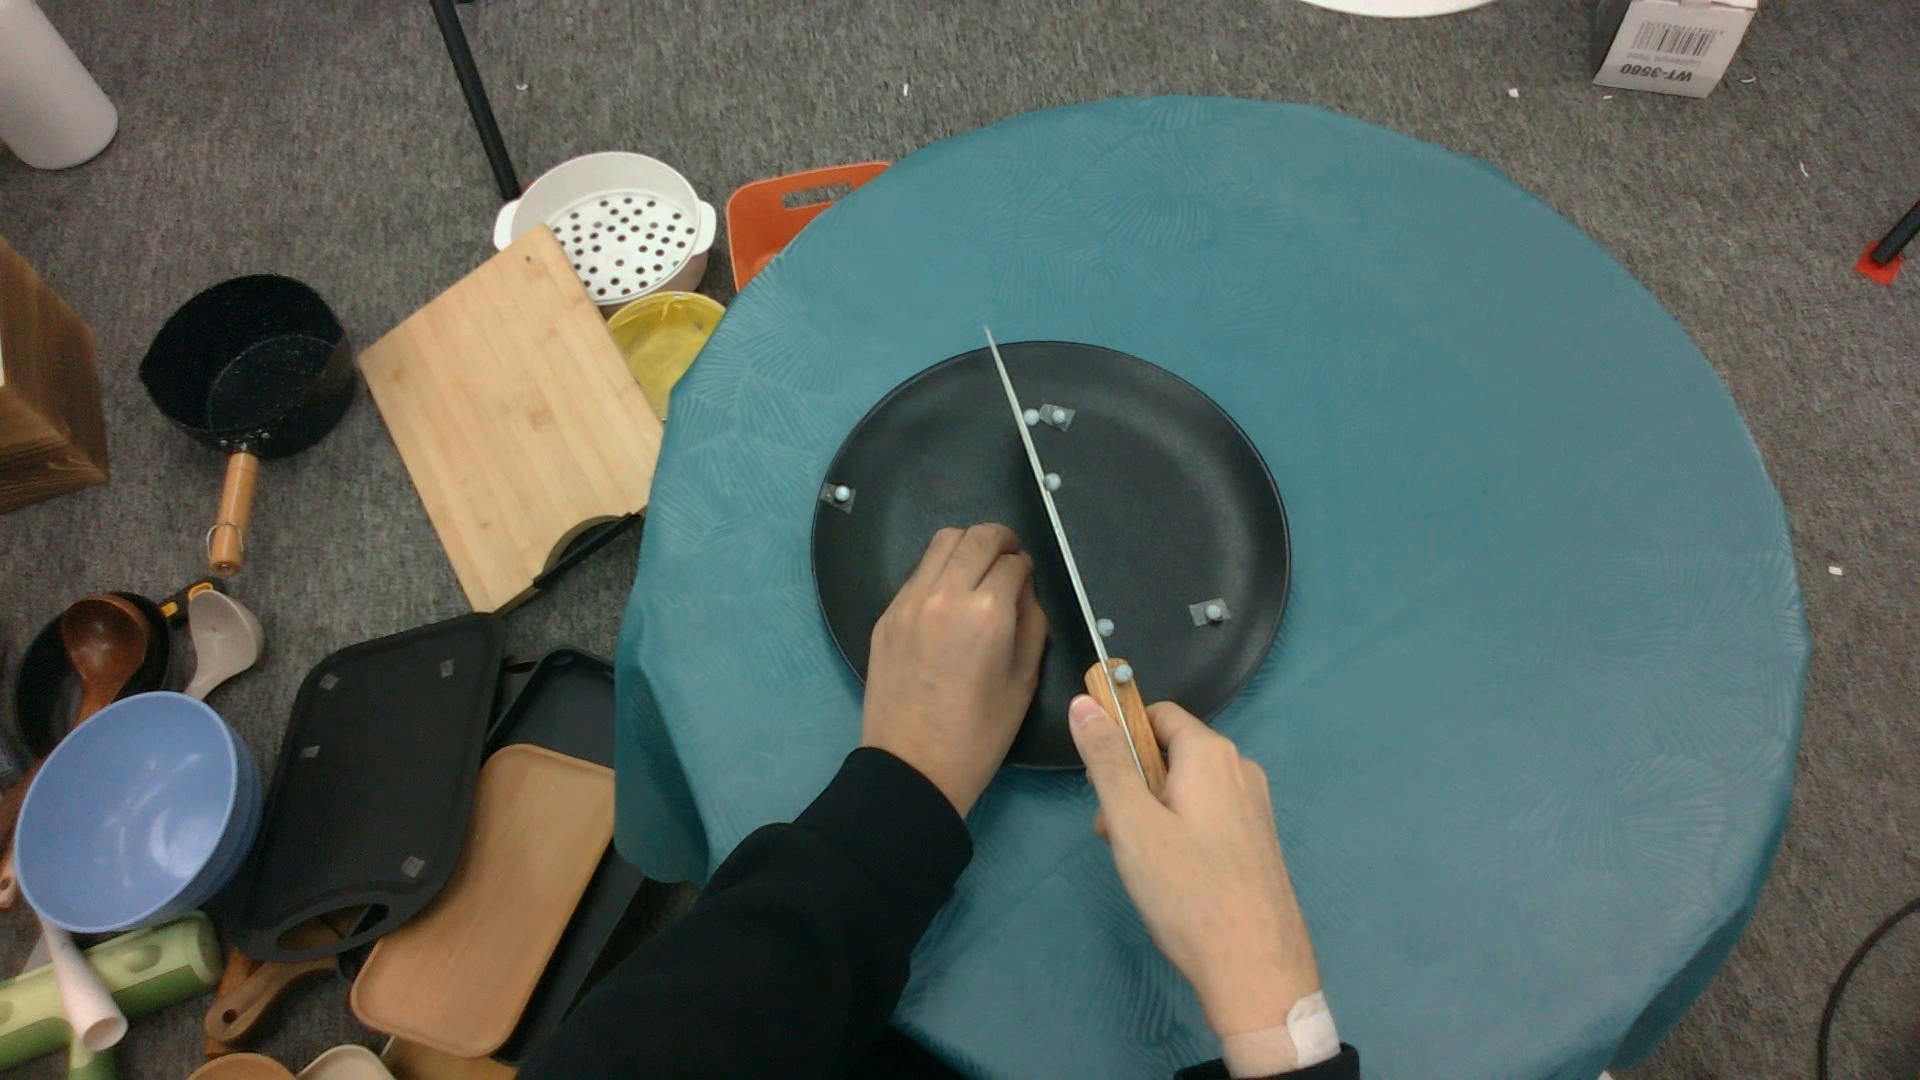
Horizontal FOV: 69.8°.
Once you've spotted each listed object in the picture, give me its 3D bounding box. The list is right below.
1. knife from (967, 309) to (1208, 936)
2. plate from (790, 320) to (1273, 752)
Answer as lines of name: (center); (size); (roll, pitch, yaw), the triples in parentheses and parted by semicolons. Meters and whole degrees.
knife: (0.052, 0.033, 0.627); (0.021, 0.092, 0.306); (-19, 64, 4)
plate: (0.036, -0.007, 0.702); (0.244, 0.023, 0.245); (0, 63, -1)
